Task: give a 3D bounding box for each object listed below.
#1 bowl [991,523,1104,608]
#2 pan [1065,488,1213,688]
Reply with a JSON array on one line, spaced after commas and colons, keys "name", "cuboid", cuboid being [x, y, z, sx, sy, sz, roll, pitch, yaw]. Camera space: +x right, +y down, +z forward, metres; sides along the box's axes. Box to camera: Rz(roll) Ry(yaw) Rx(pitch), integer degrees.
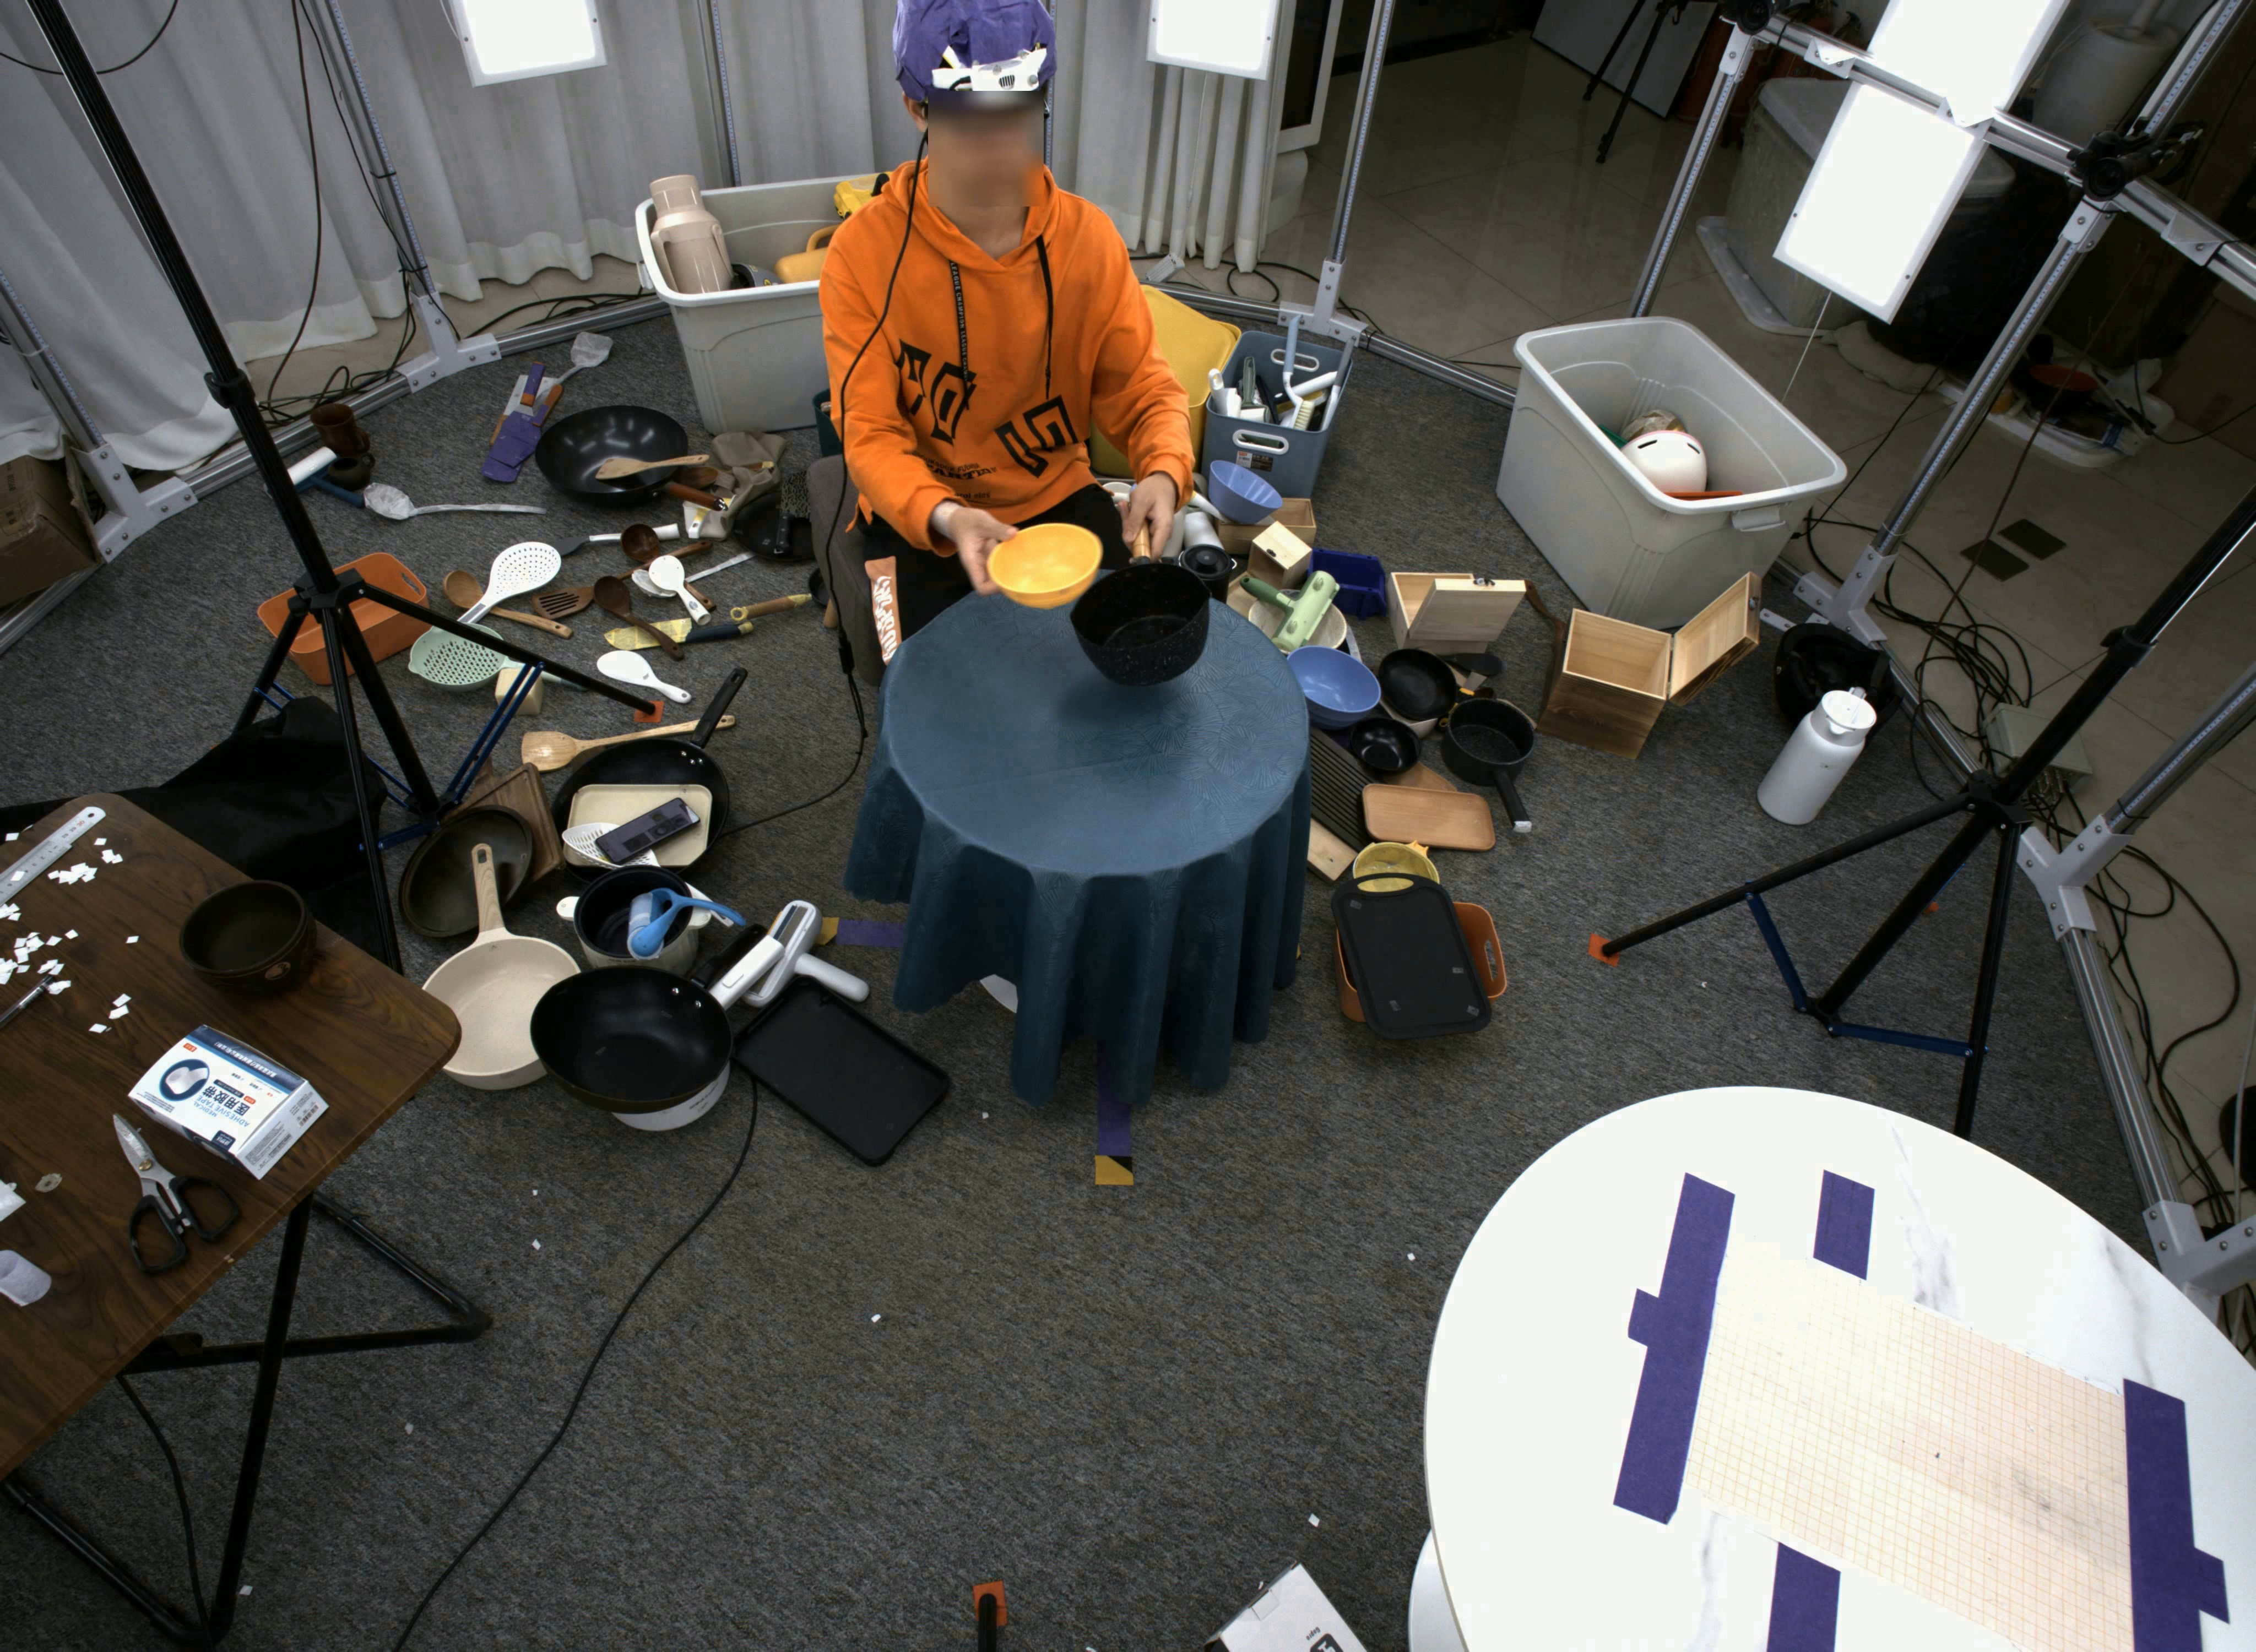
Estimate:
[{"name": "bowl", "cuboid": [-0.099, -0.323, 1.650, 0.145, 0.058, 0.149, -5, 46, 5]}, {"name": "pan", "cuboid": [0.020, -0.338, 1.814, 0.207, 0.105, 0.351, -10, 46, 10]}]
